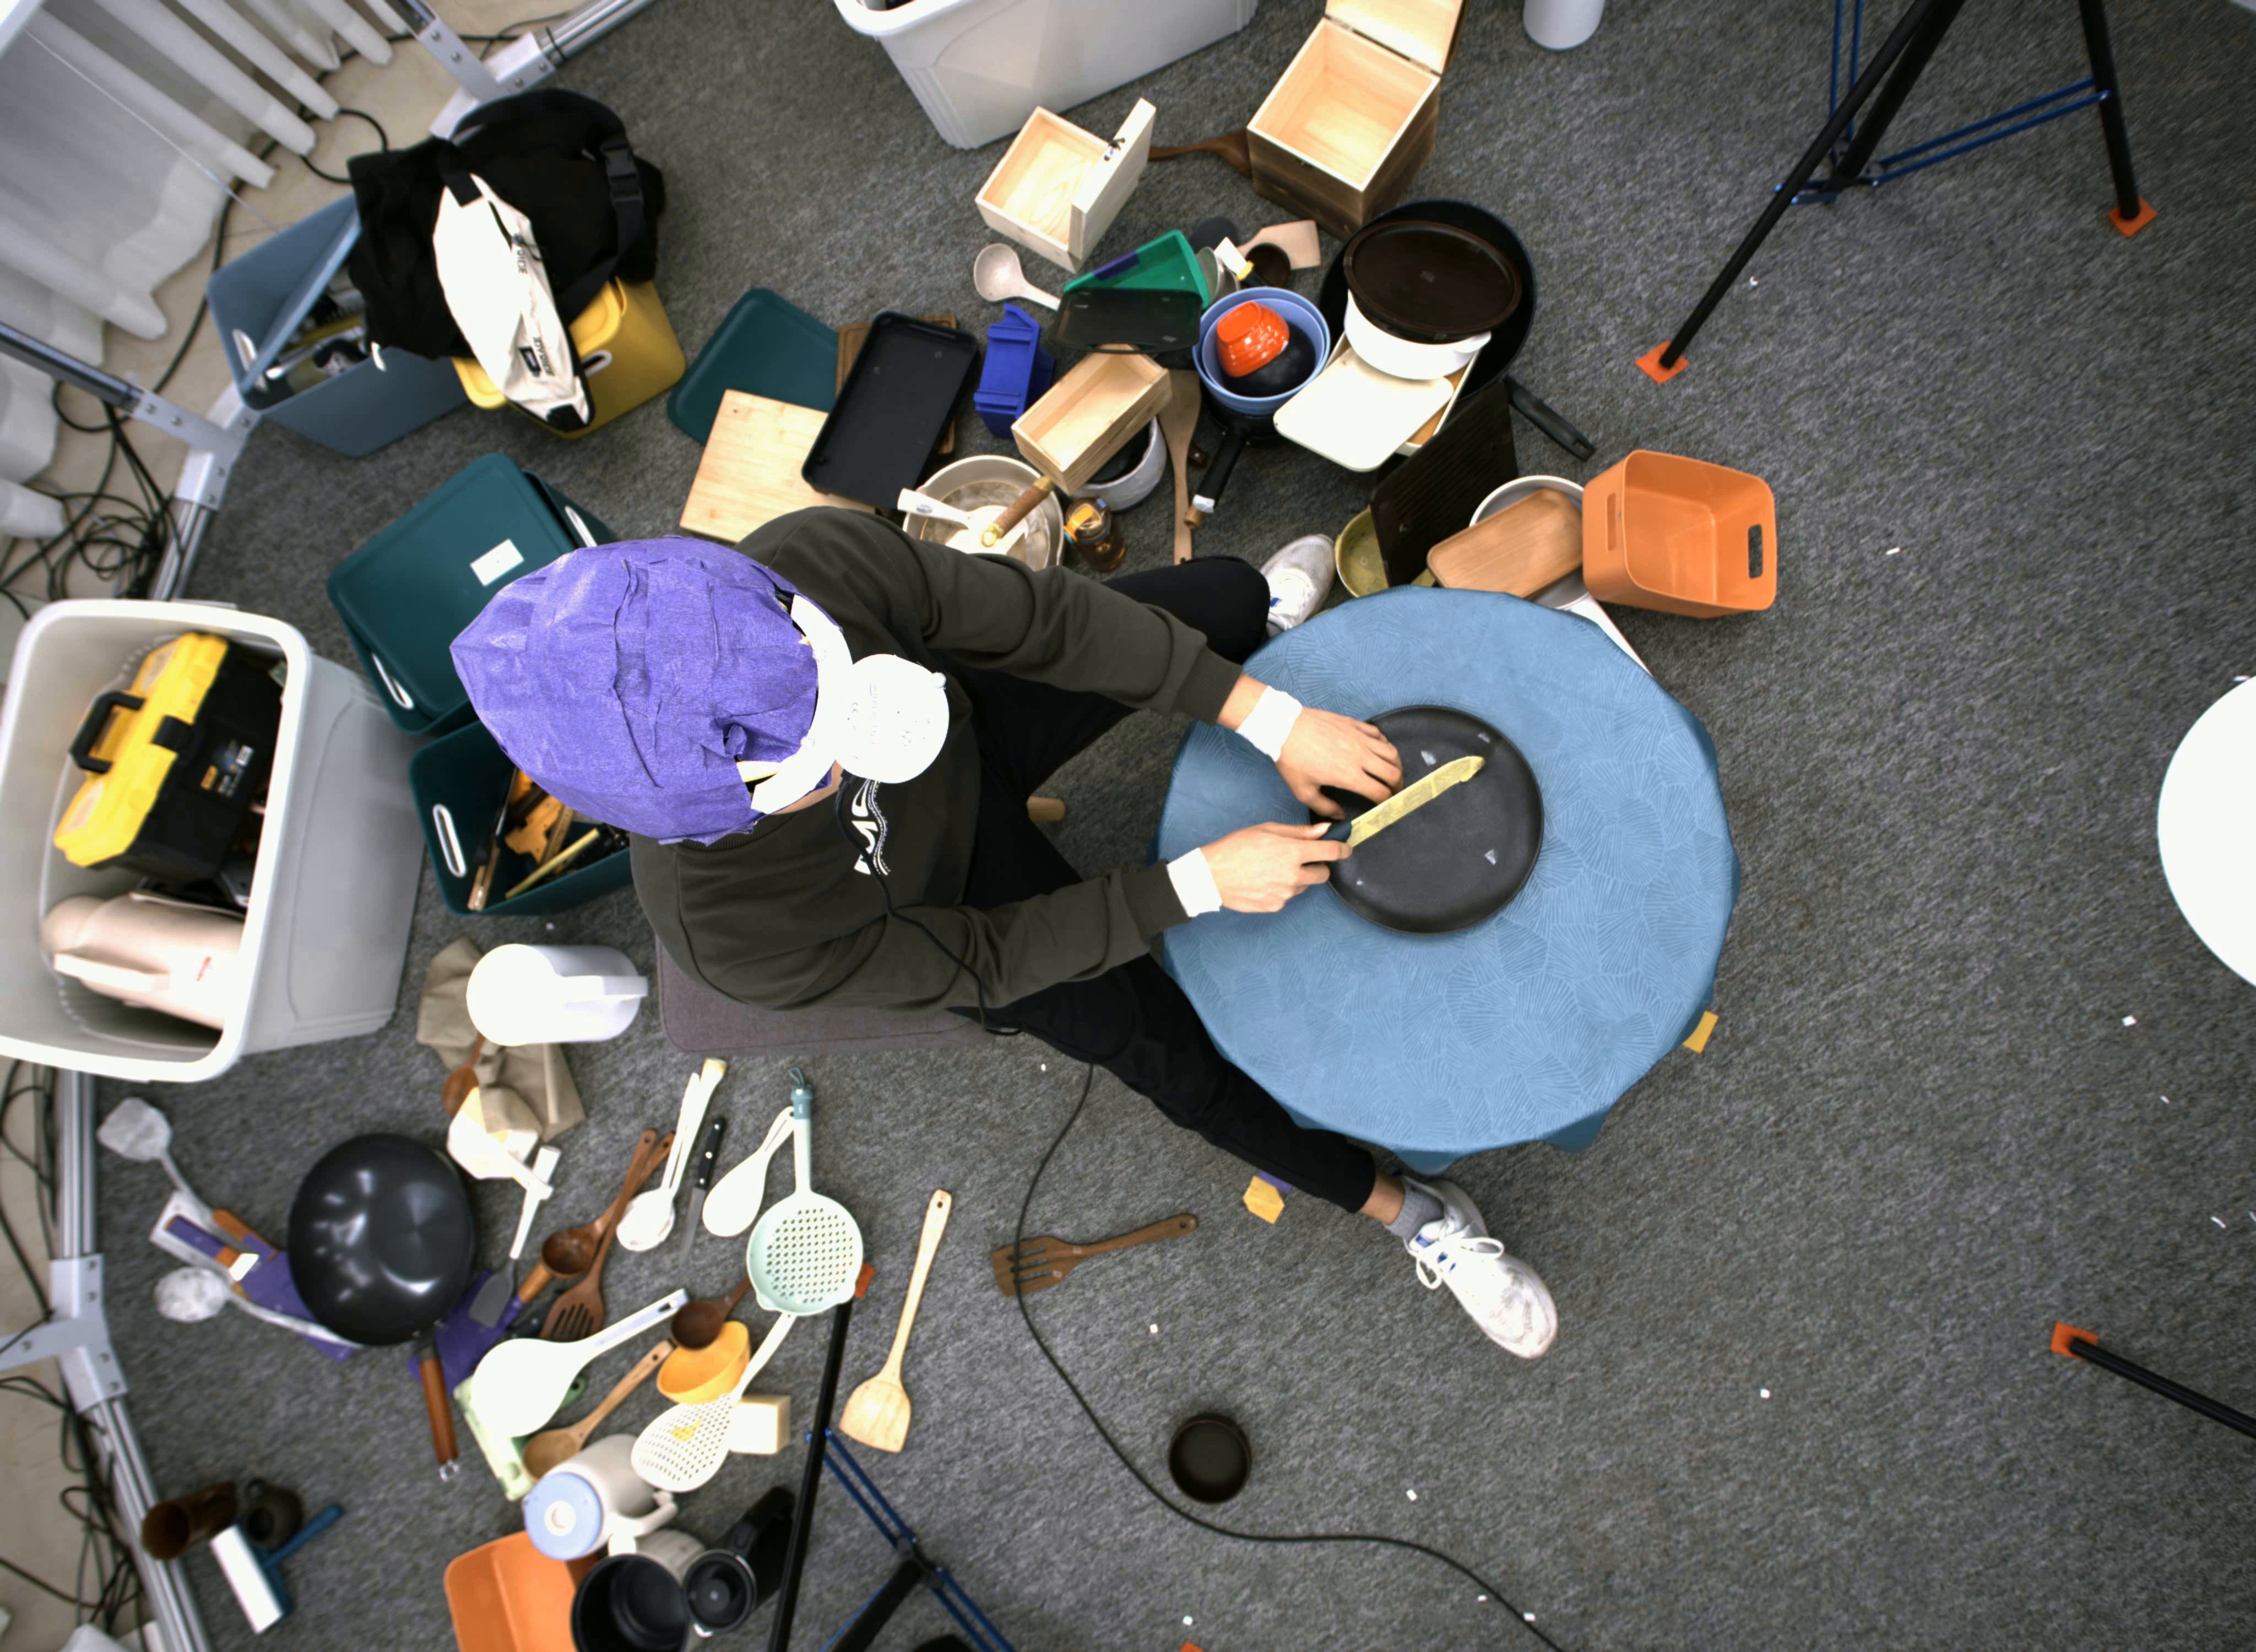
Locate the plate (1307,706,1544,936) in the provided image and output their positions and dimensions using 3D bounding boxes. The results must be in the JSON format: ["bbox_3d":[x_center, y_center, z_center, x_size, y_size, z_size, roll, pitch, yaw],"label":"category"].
[{"bbox_3d":[0.311,-0.007,1.445,0.245,0.023,0.243,-1,86,11],"label":"plate"}]

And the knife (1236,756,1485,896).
[{"bbox_3d":[0.242,-0.002,1.421,0.290,0.082,0.027,-29,66,4],"label":"knife"}]
